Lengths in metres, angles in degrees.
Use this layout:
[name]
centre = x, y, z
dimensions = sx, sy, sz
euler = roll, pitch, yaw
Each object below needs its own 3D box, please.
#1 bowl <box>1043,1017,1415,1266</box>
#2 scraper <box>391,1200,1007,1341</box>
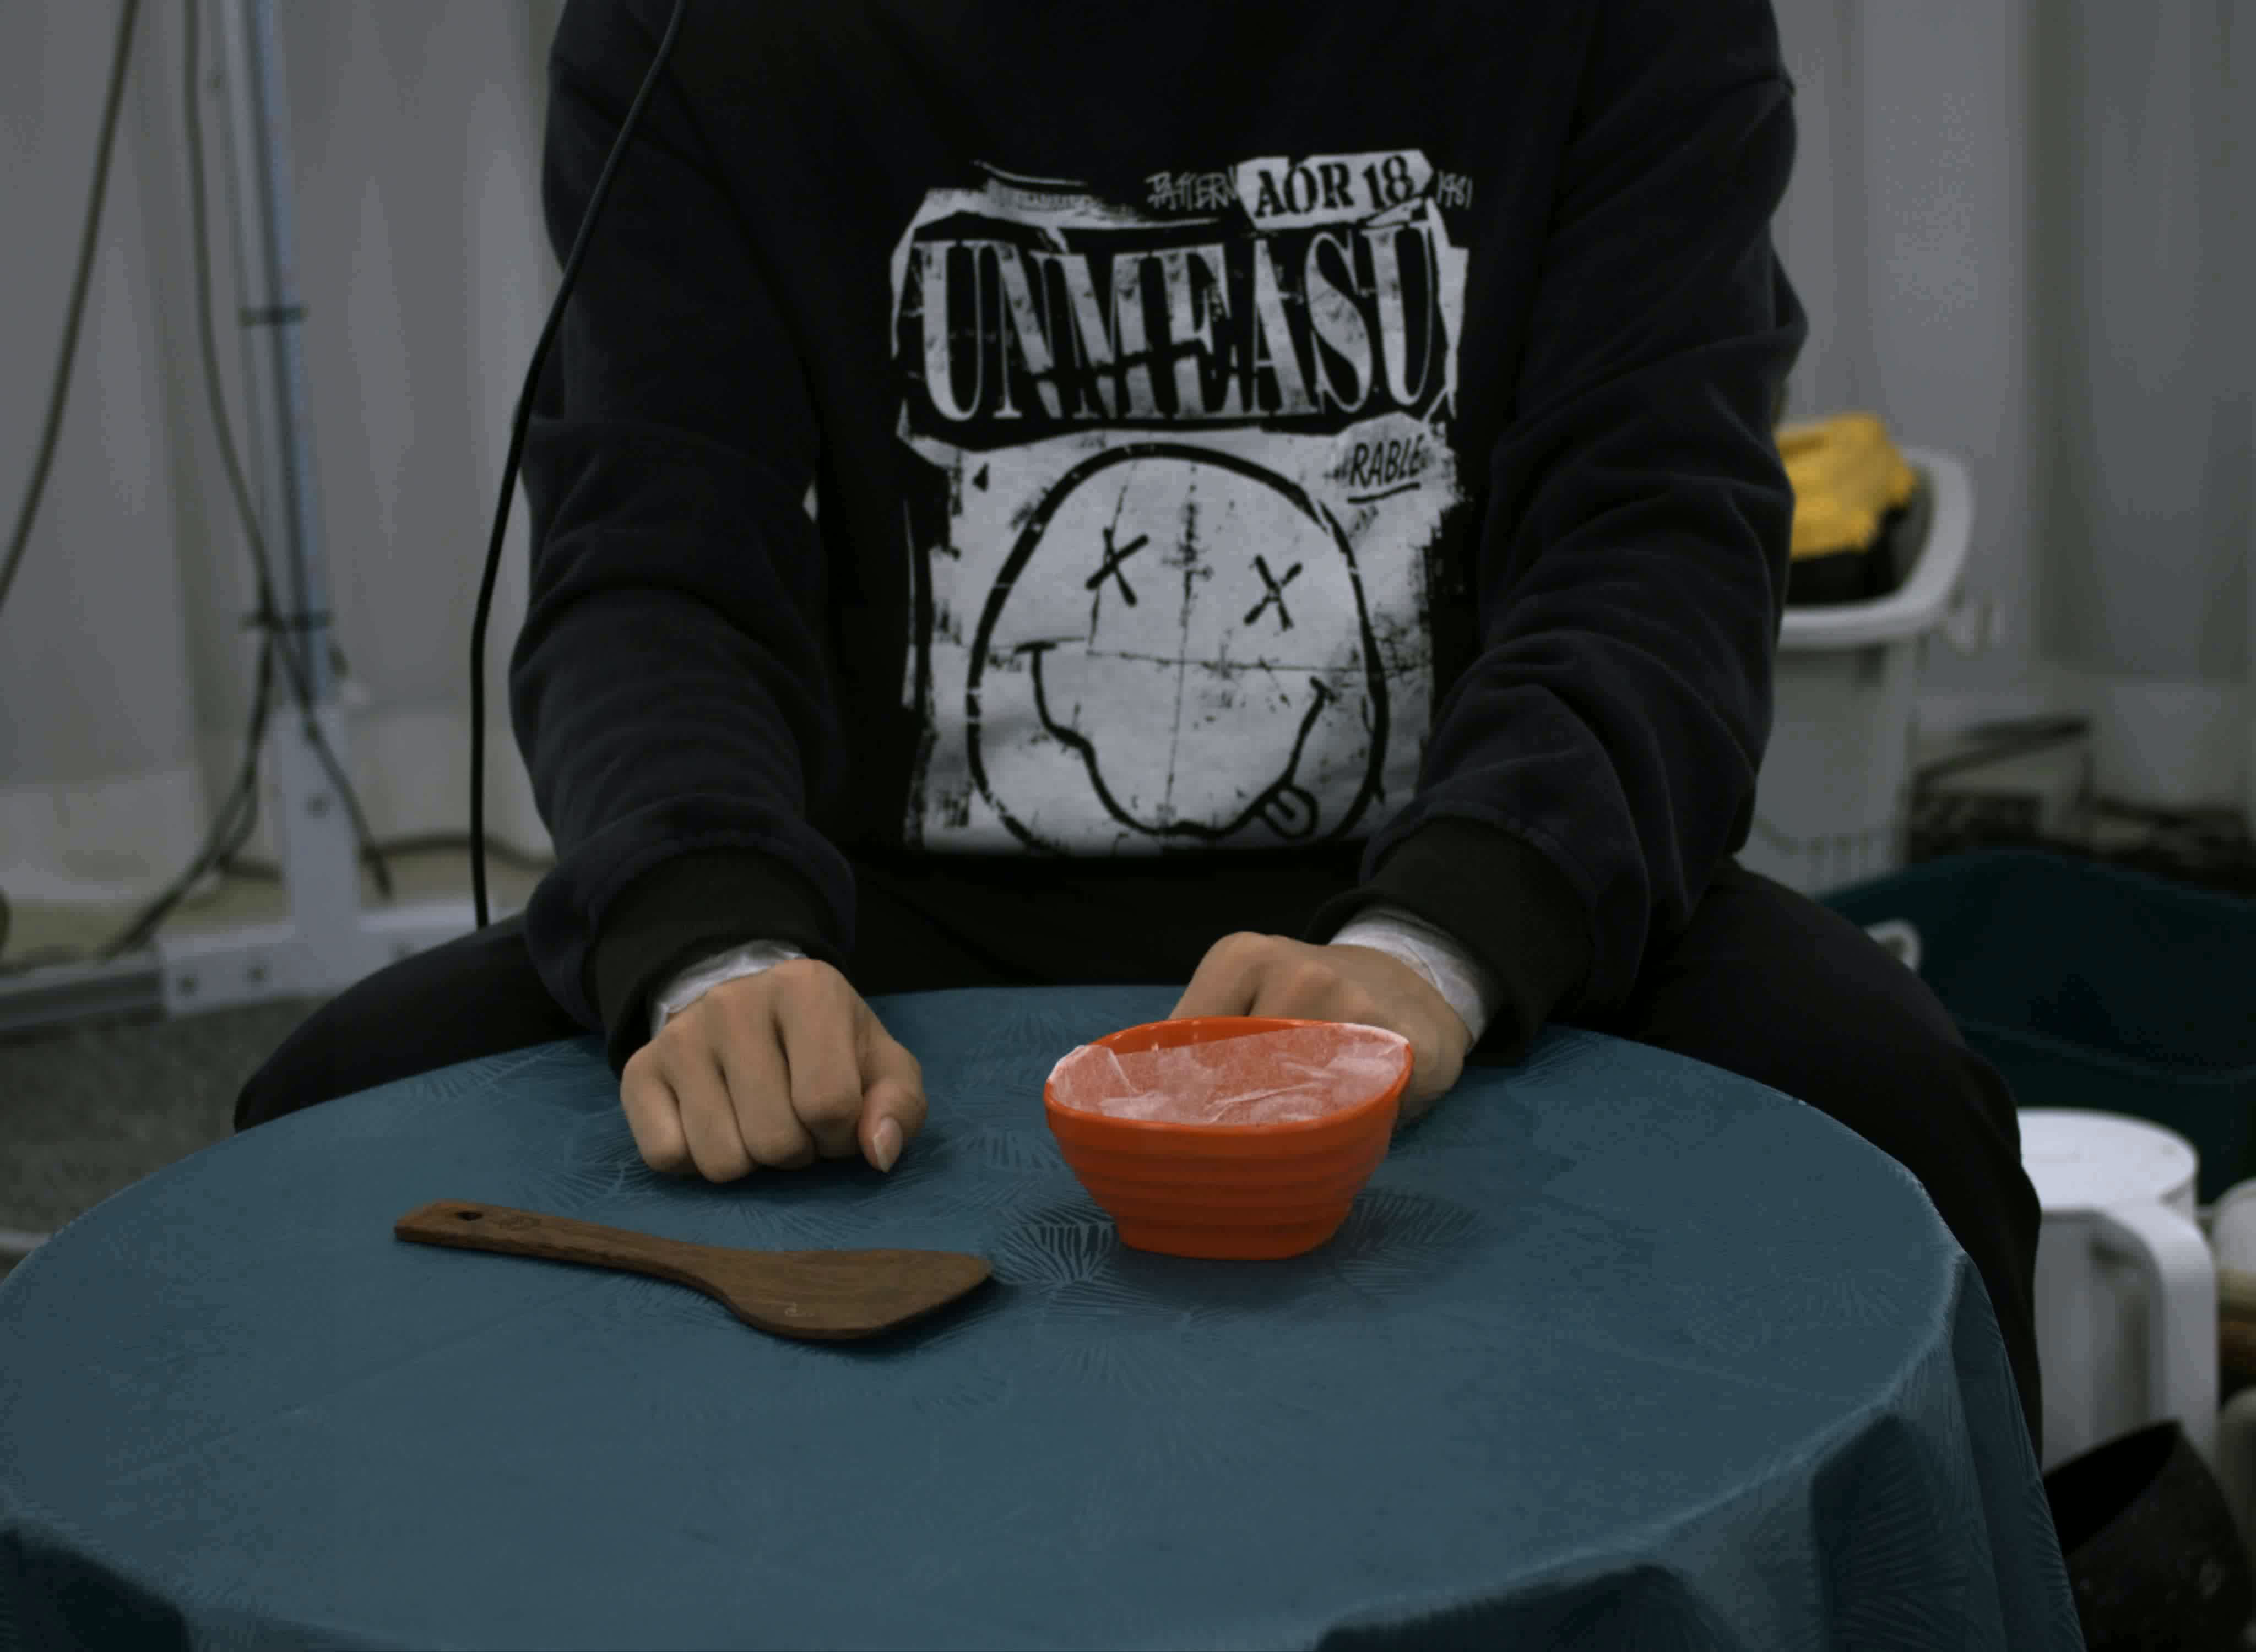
[bowl]
centre = 0.032, 0.099, 1.674
dimensions = 0.118, 0.051, 0.120
euler = -3, 16, 1
[scraper]
centre = -0.137, 0.132, 1.660
dimensions = 0.212, 0.011, 0.076
euler = 6, 17, 33
